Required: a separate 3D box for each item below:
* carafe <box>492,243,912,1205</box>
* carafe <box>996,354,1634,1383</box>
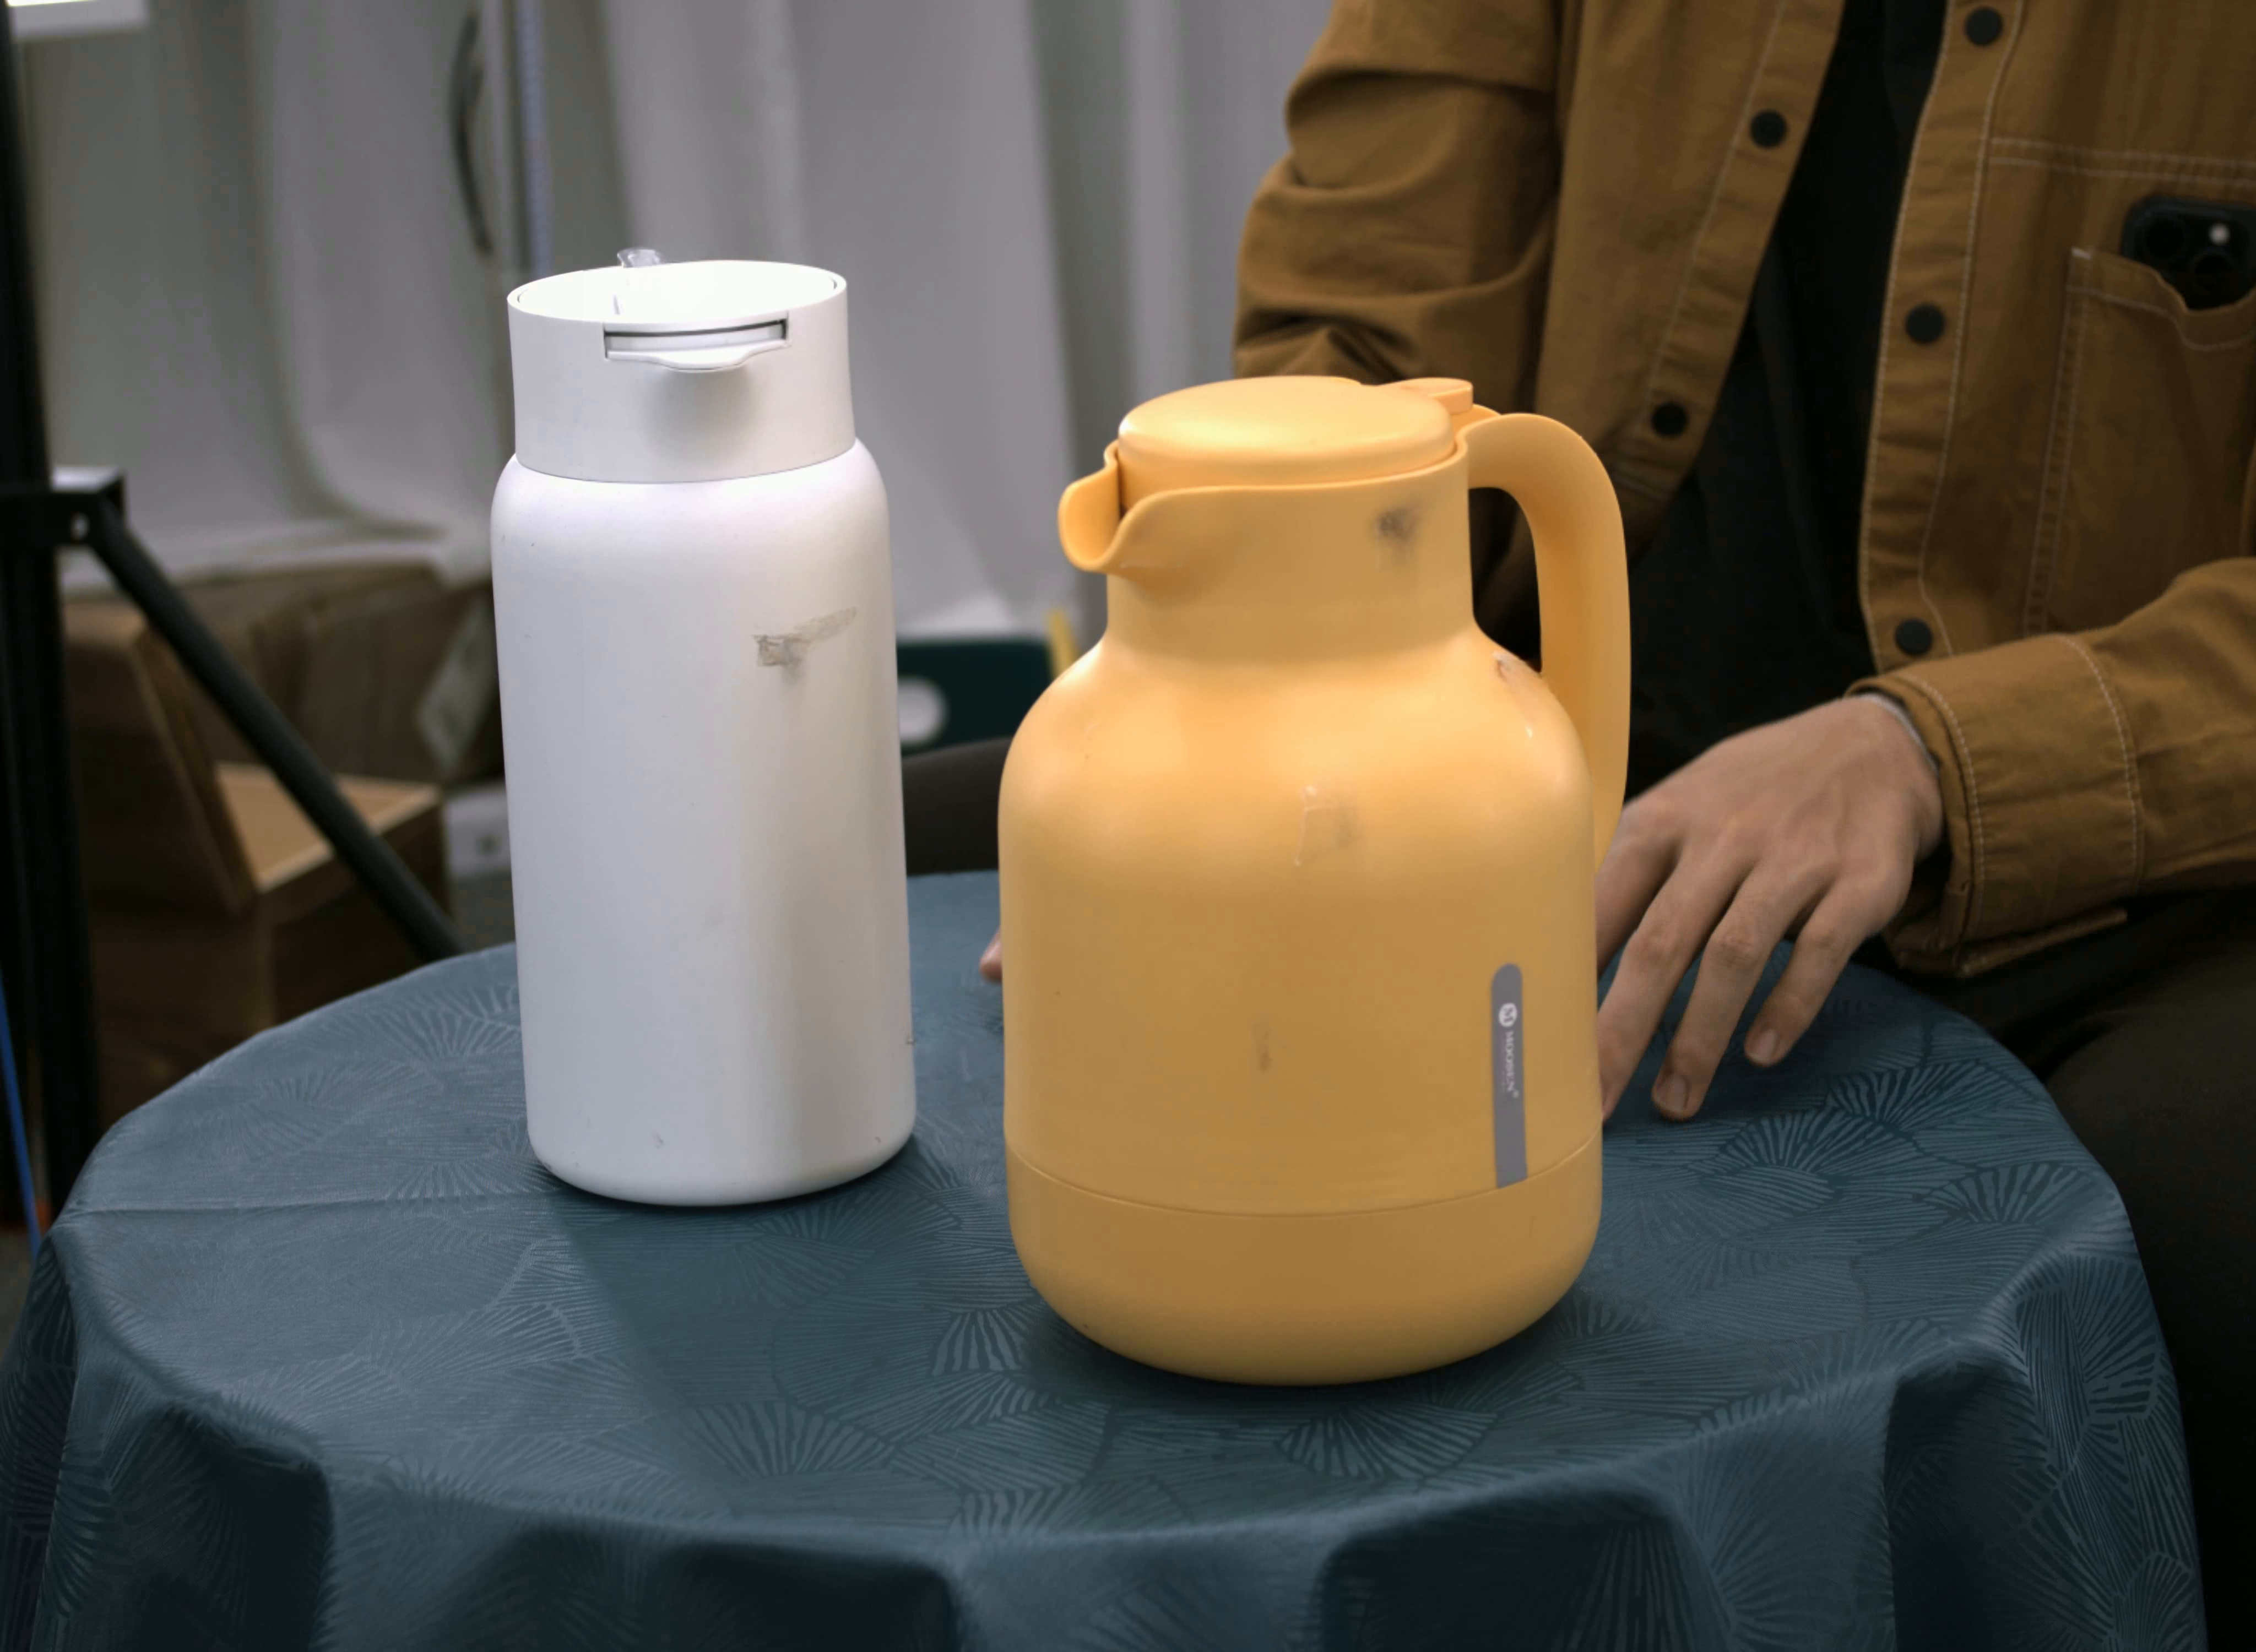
[{"bbox_3d":[-0.131,-0.034,1.591,0.122,0.269,0.175,-7,16,-11],"label":"carafe"},{"bbox_3d":[0.061,0.004,1.430,0.198,0.260,0.167,-16,23,-37],"label":"carafe"}]
